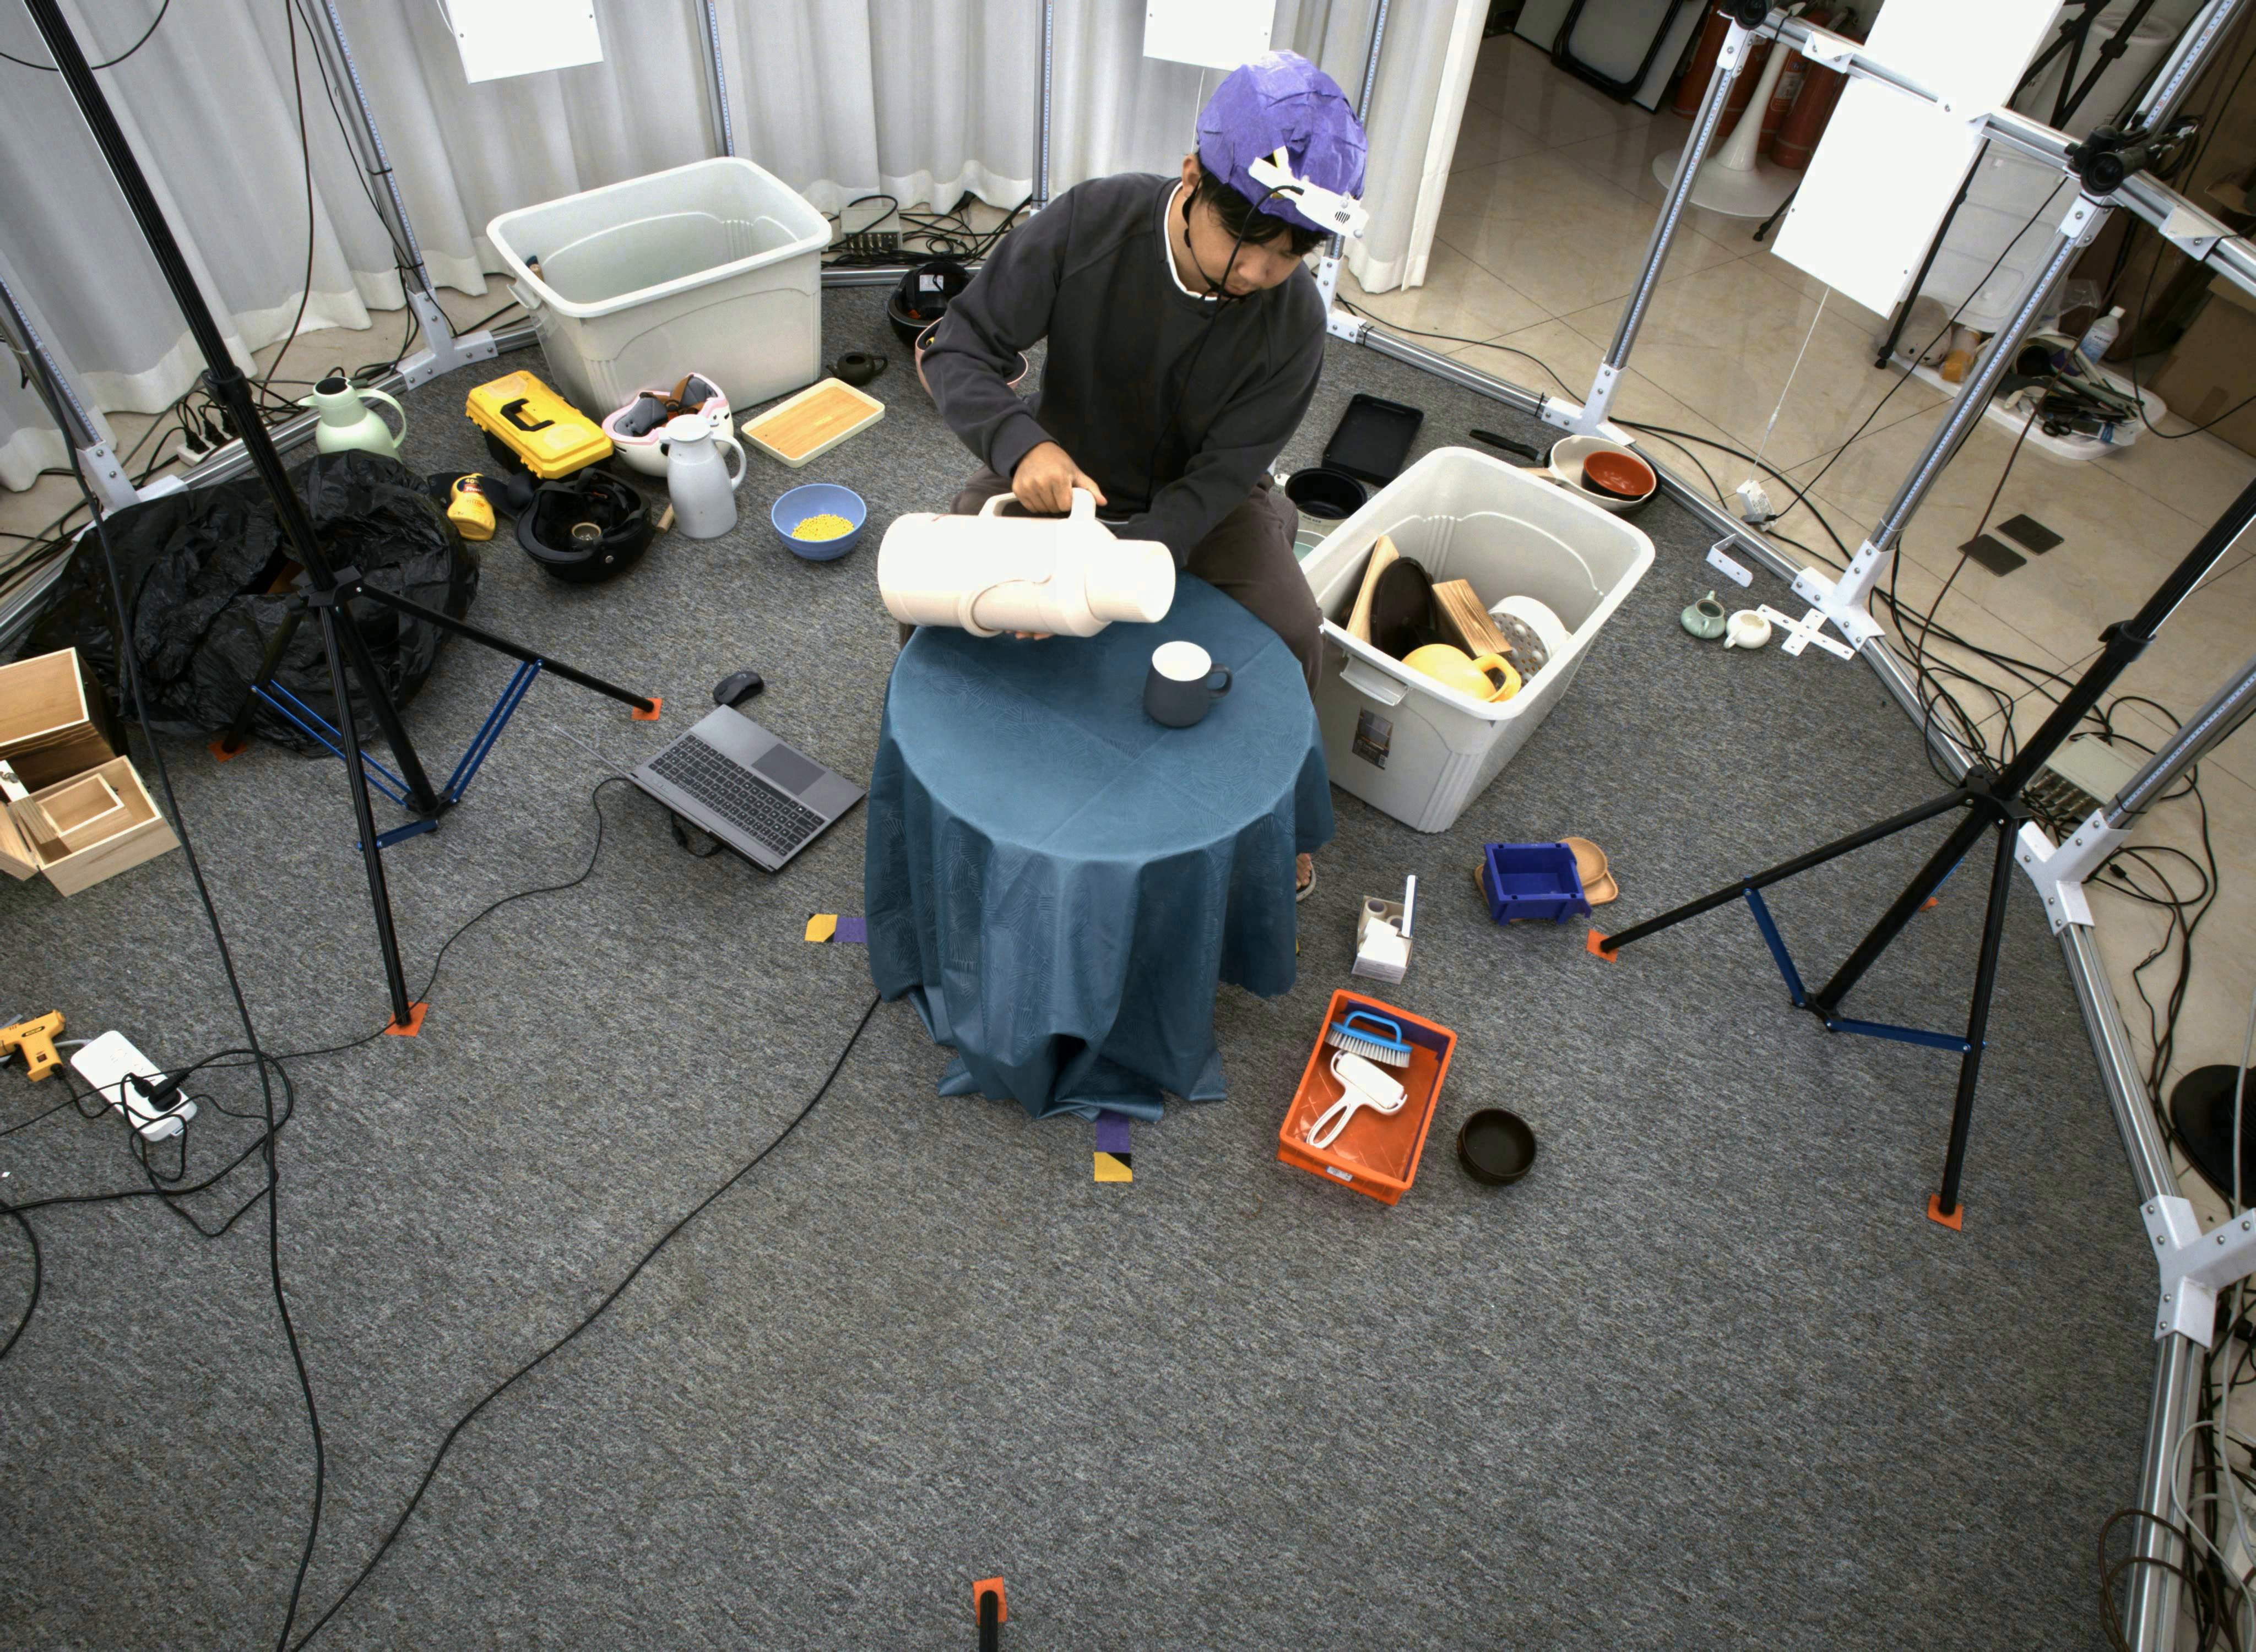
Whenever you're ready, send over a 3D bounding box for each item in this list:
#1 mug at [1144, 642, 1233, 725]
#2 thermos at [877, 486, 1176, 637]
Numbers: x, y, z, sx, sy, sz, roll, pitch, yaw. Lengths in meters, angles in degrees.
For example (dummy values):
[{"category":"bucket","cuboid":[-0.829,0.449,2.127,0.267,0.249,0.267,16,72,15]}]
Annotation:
[{"category":"mug","cuboid":[0.086,-0.199,1.786,0.123,0.088,0.096,-4,49,-8]},{"category":"thermos","cuboid":[-0.135,-0.358,1.758,0.409,0.206,0.175,9,7,29]}]
